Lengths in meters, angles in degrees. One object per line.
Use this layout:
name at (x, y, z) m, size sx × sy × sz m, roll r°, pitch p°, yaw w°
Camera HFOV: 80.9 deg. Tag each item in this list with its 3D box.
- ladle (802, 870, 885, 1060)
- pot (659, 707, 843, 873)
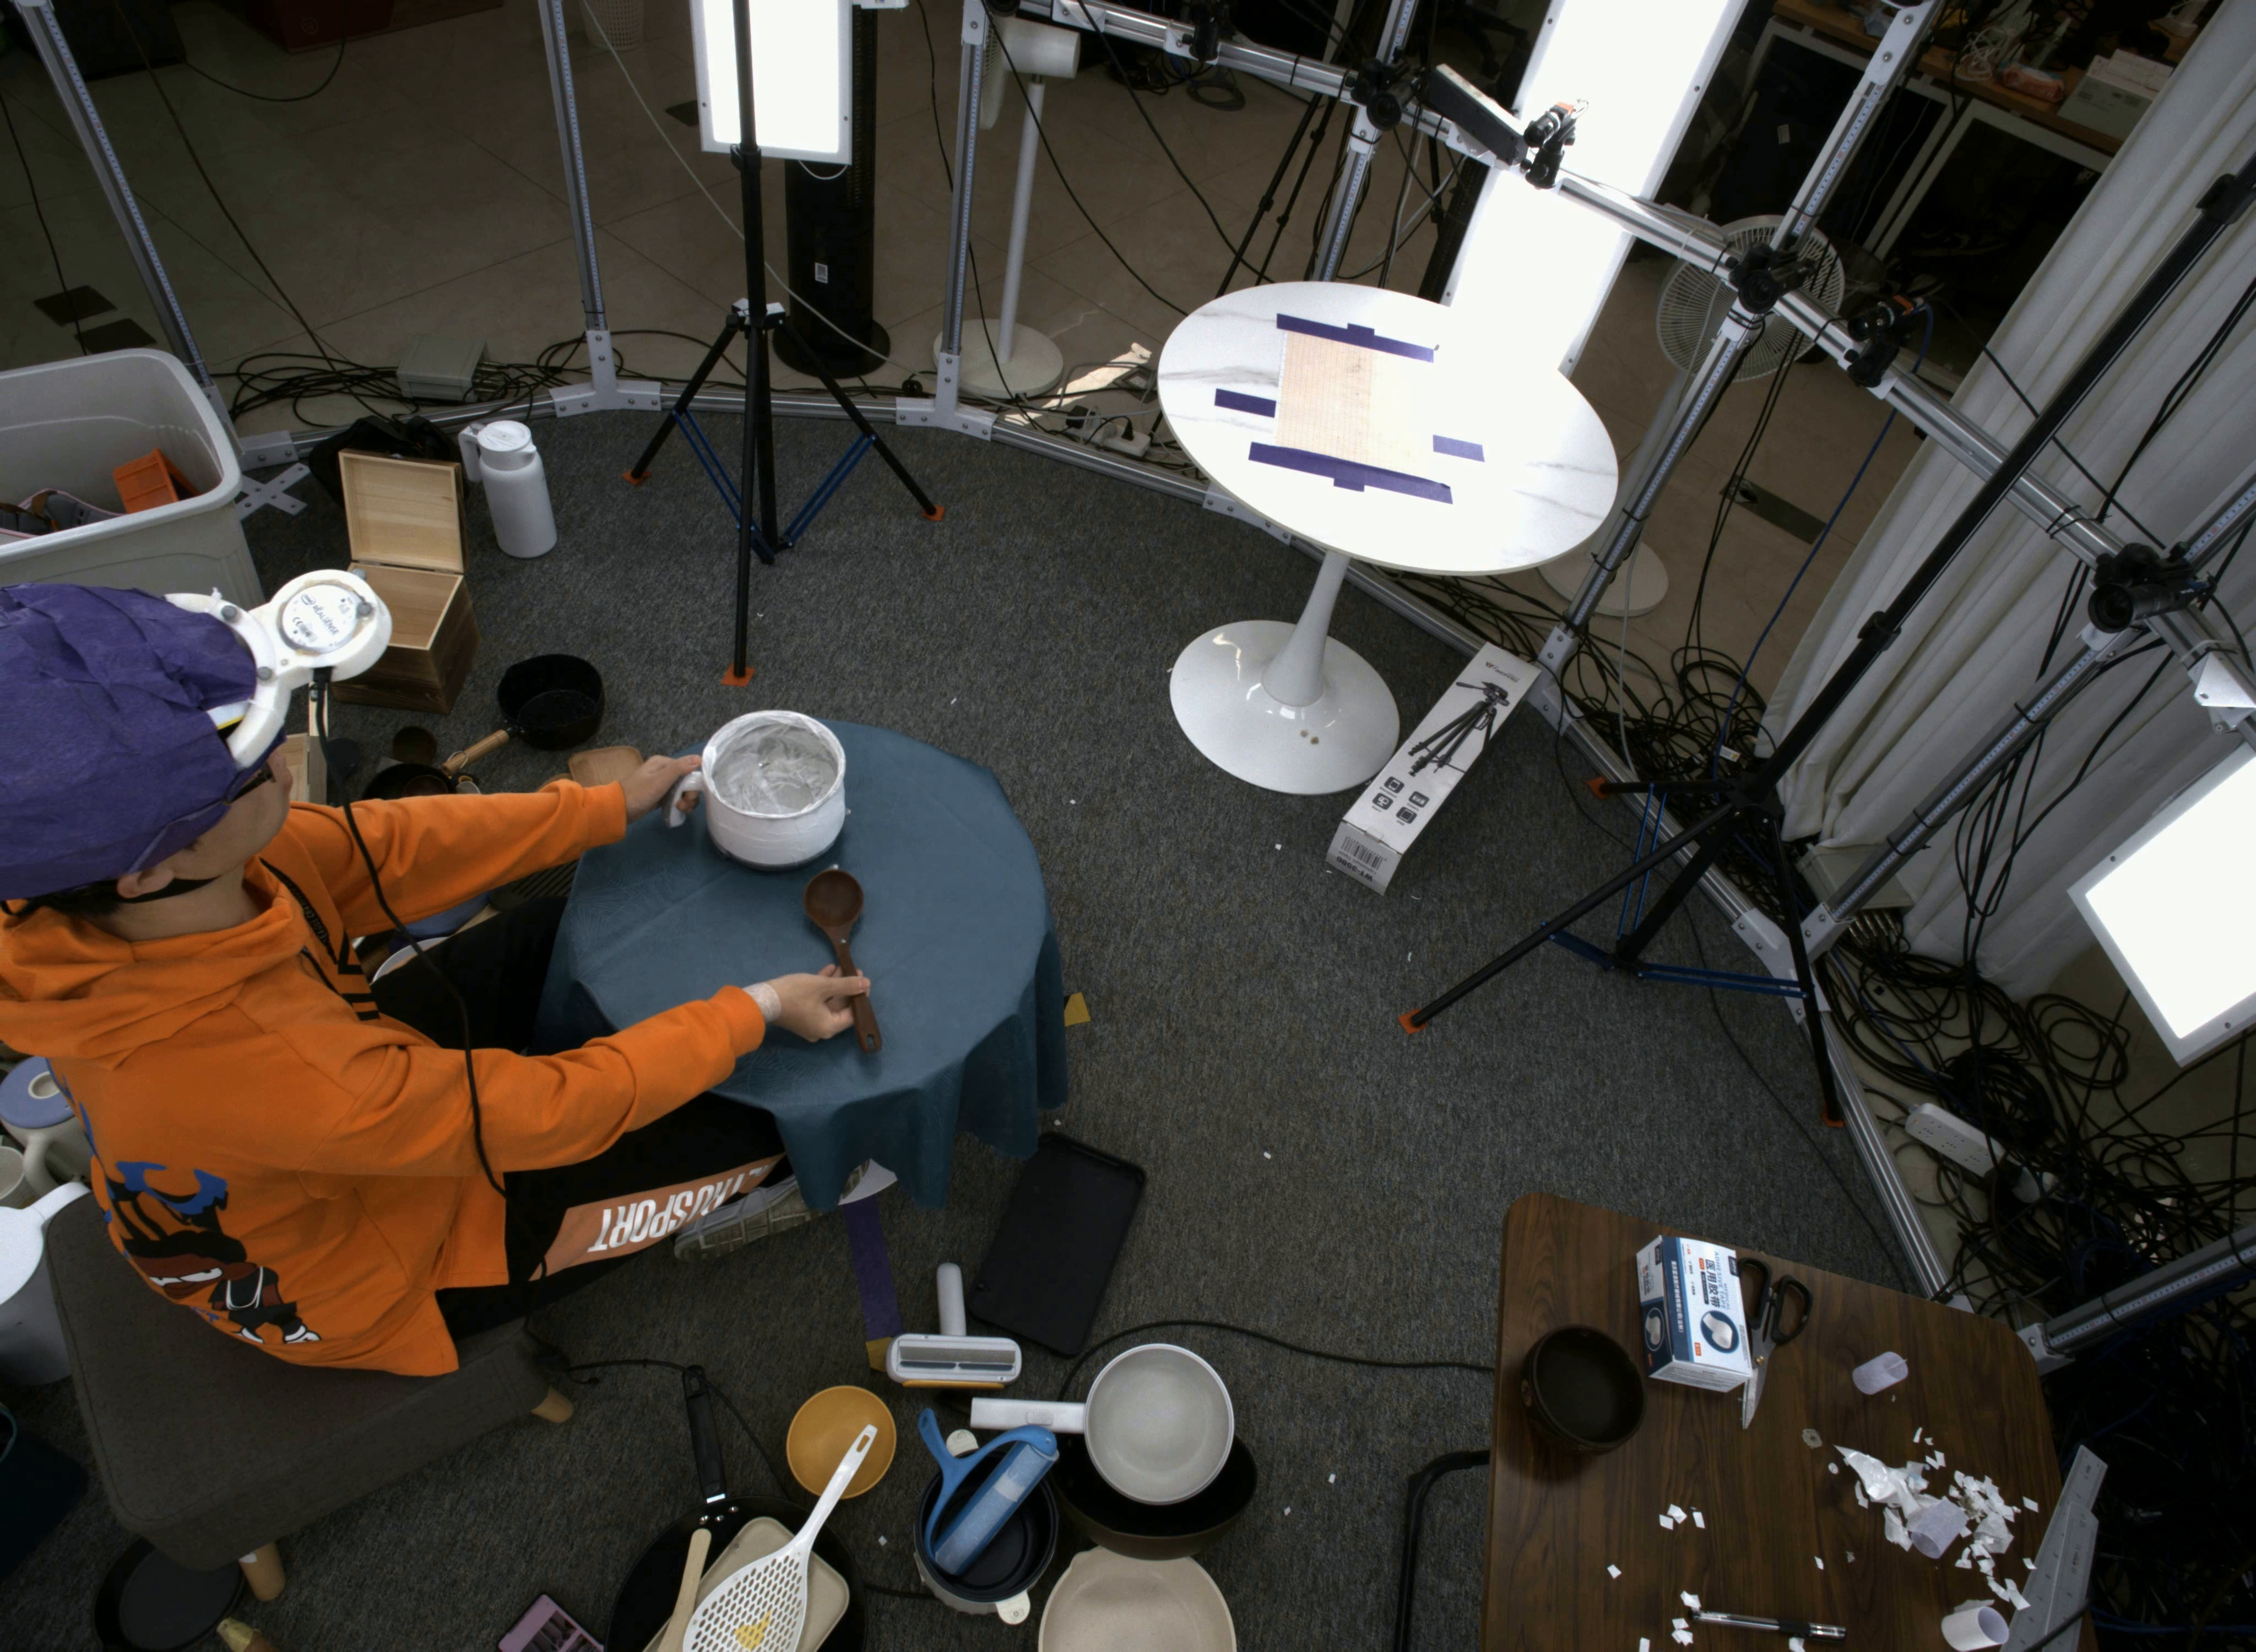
ladle at (-0.335, 0.160, 1.565) m, size 0.077 × 0.067 × 0.252 m, roll -13°, pitch 50°, yaw -18°
pot at (-0.479, -0.041, 1.641) m, size 0.234 × 0.139 × 0.174 m, roll -2°, pitch 53°, yaw -16°
